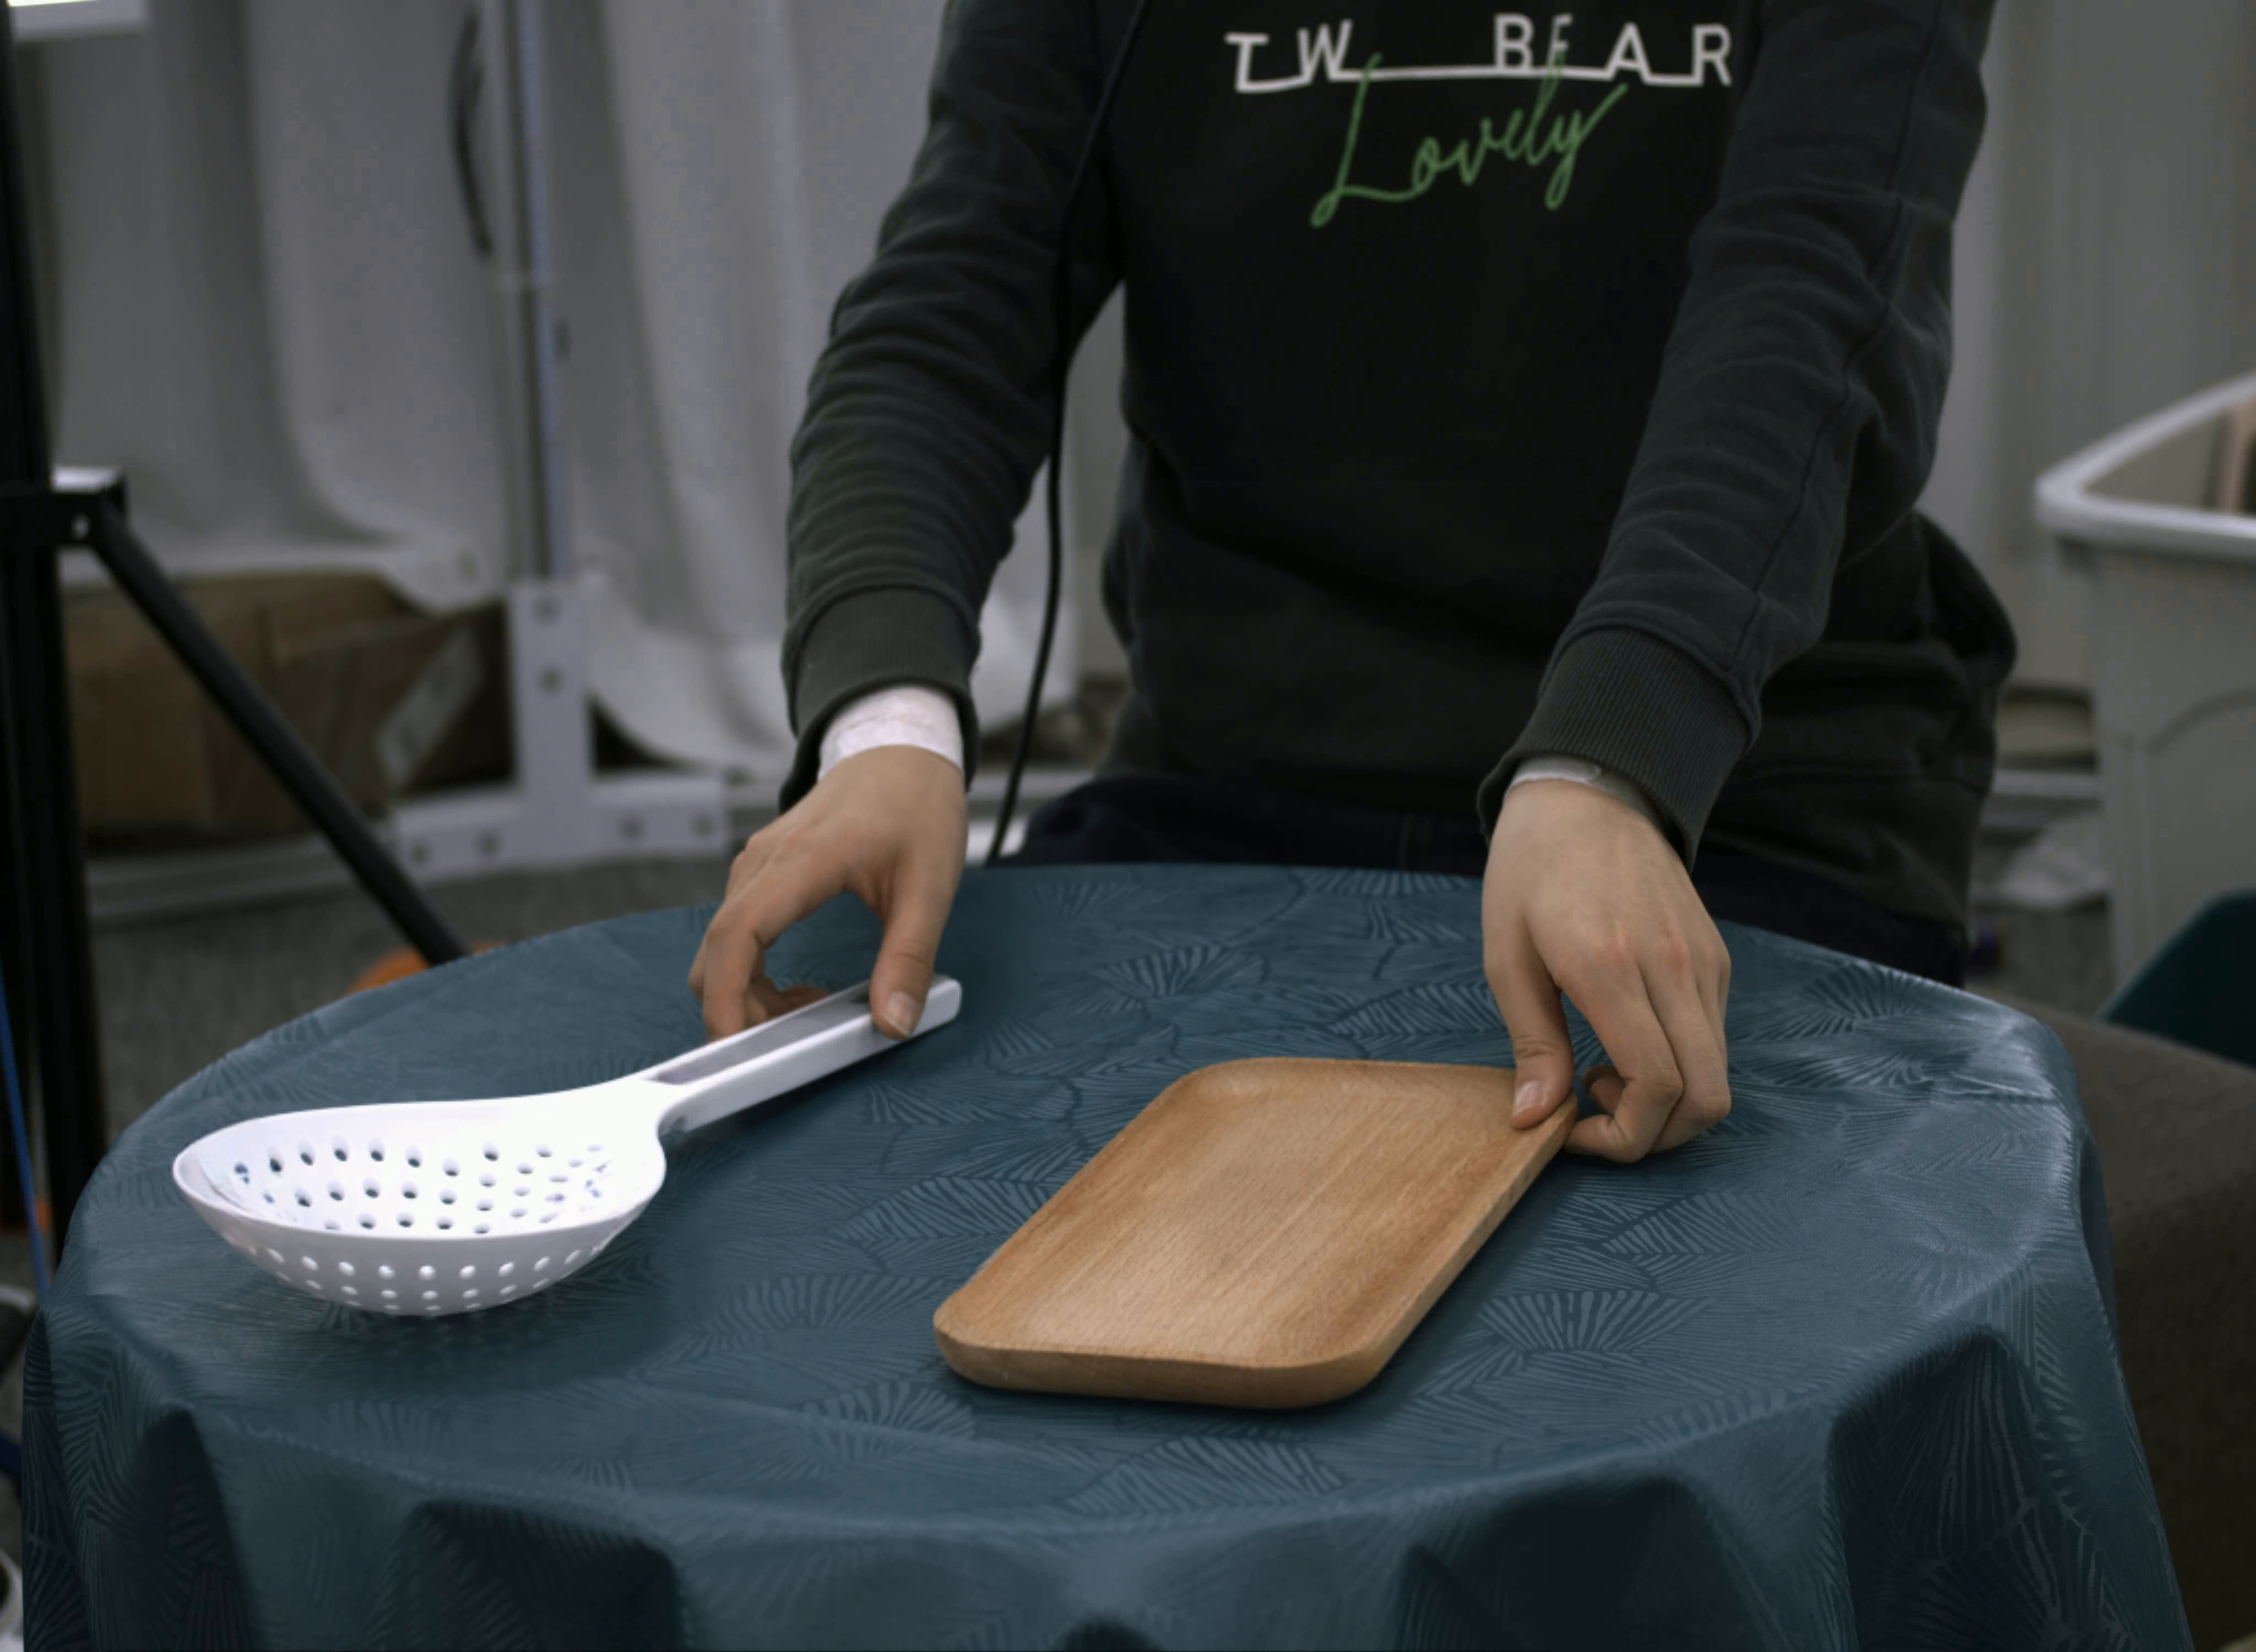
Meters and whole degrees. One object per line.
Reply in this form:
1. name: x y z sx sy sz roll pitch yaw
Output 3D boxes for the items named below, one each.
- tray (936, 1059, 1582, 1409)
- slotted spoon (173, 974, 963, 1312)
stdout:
1. tray: 0.042 0.112 1.501 0.132 0.023 0.247 4 16 20
2. slotted spoon: -0.147 0.084 1.583 0.138 0.046 0.343 10 19 28
